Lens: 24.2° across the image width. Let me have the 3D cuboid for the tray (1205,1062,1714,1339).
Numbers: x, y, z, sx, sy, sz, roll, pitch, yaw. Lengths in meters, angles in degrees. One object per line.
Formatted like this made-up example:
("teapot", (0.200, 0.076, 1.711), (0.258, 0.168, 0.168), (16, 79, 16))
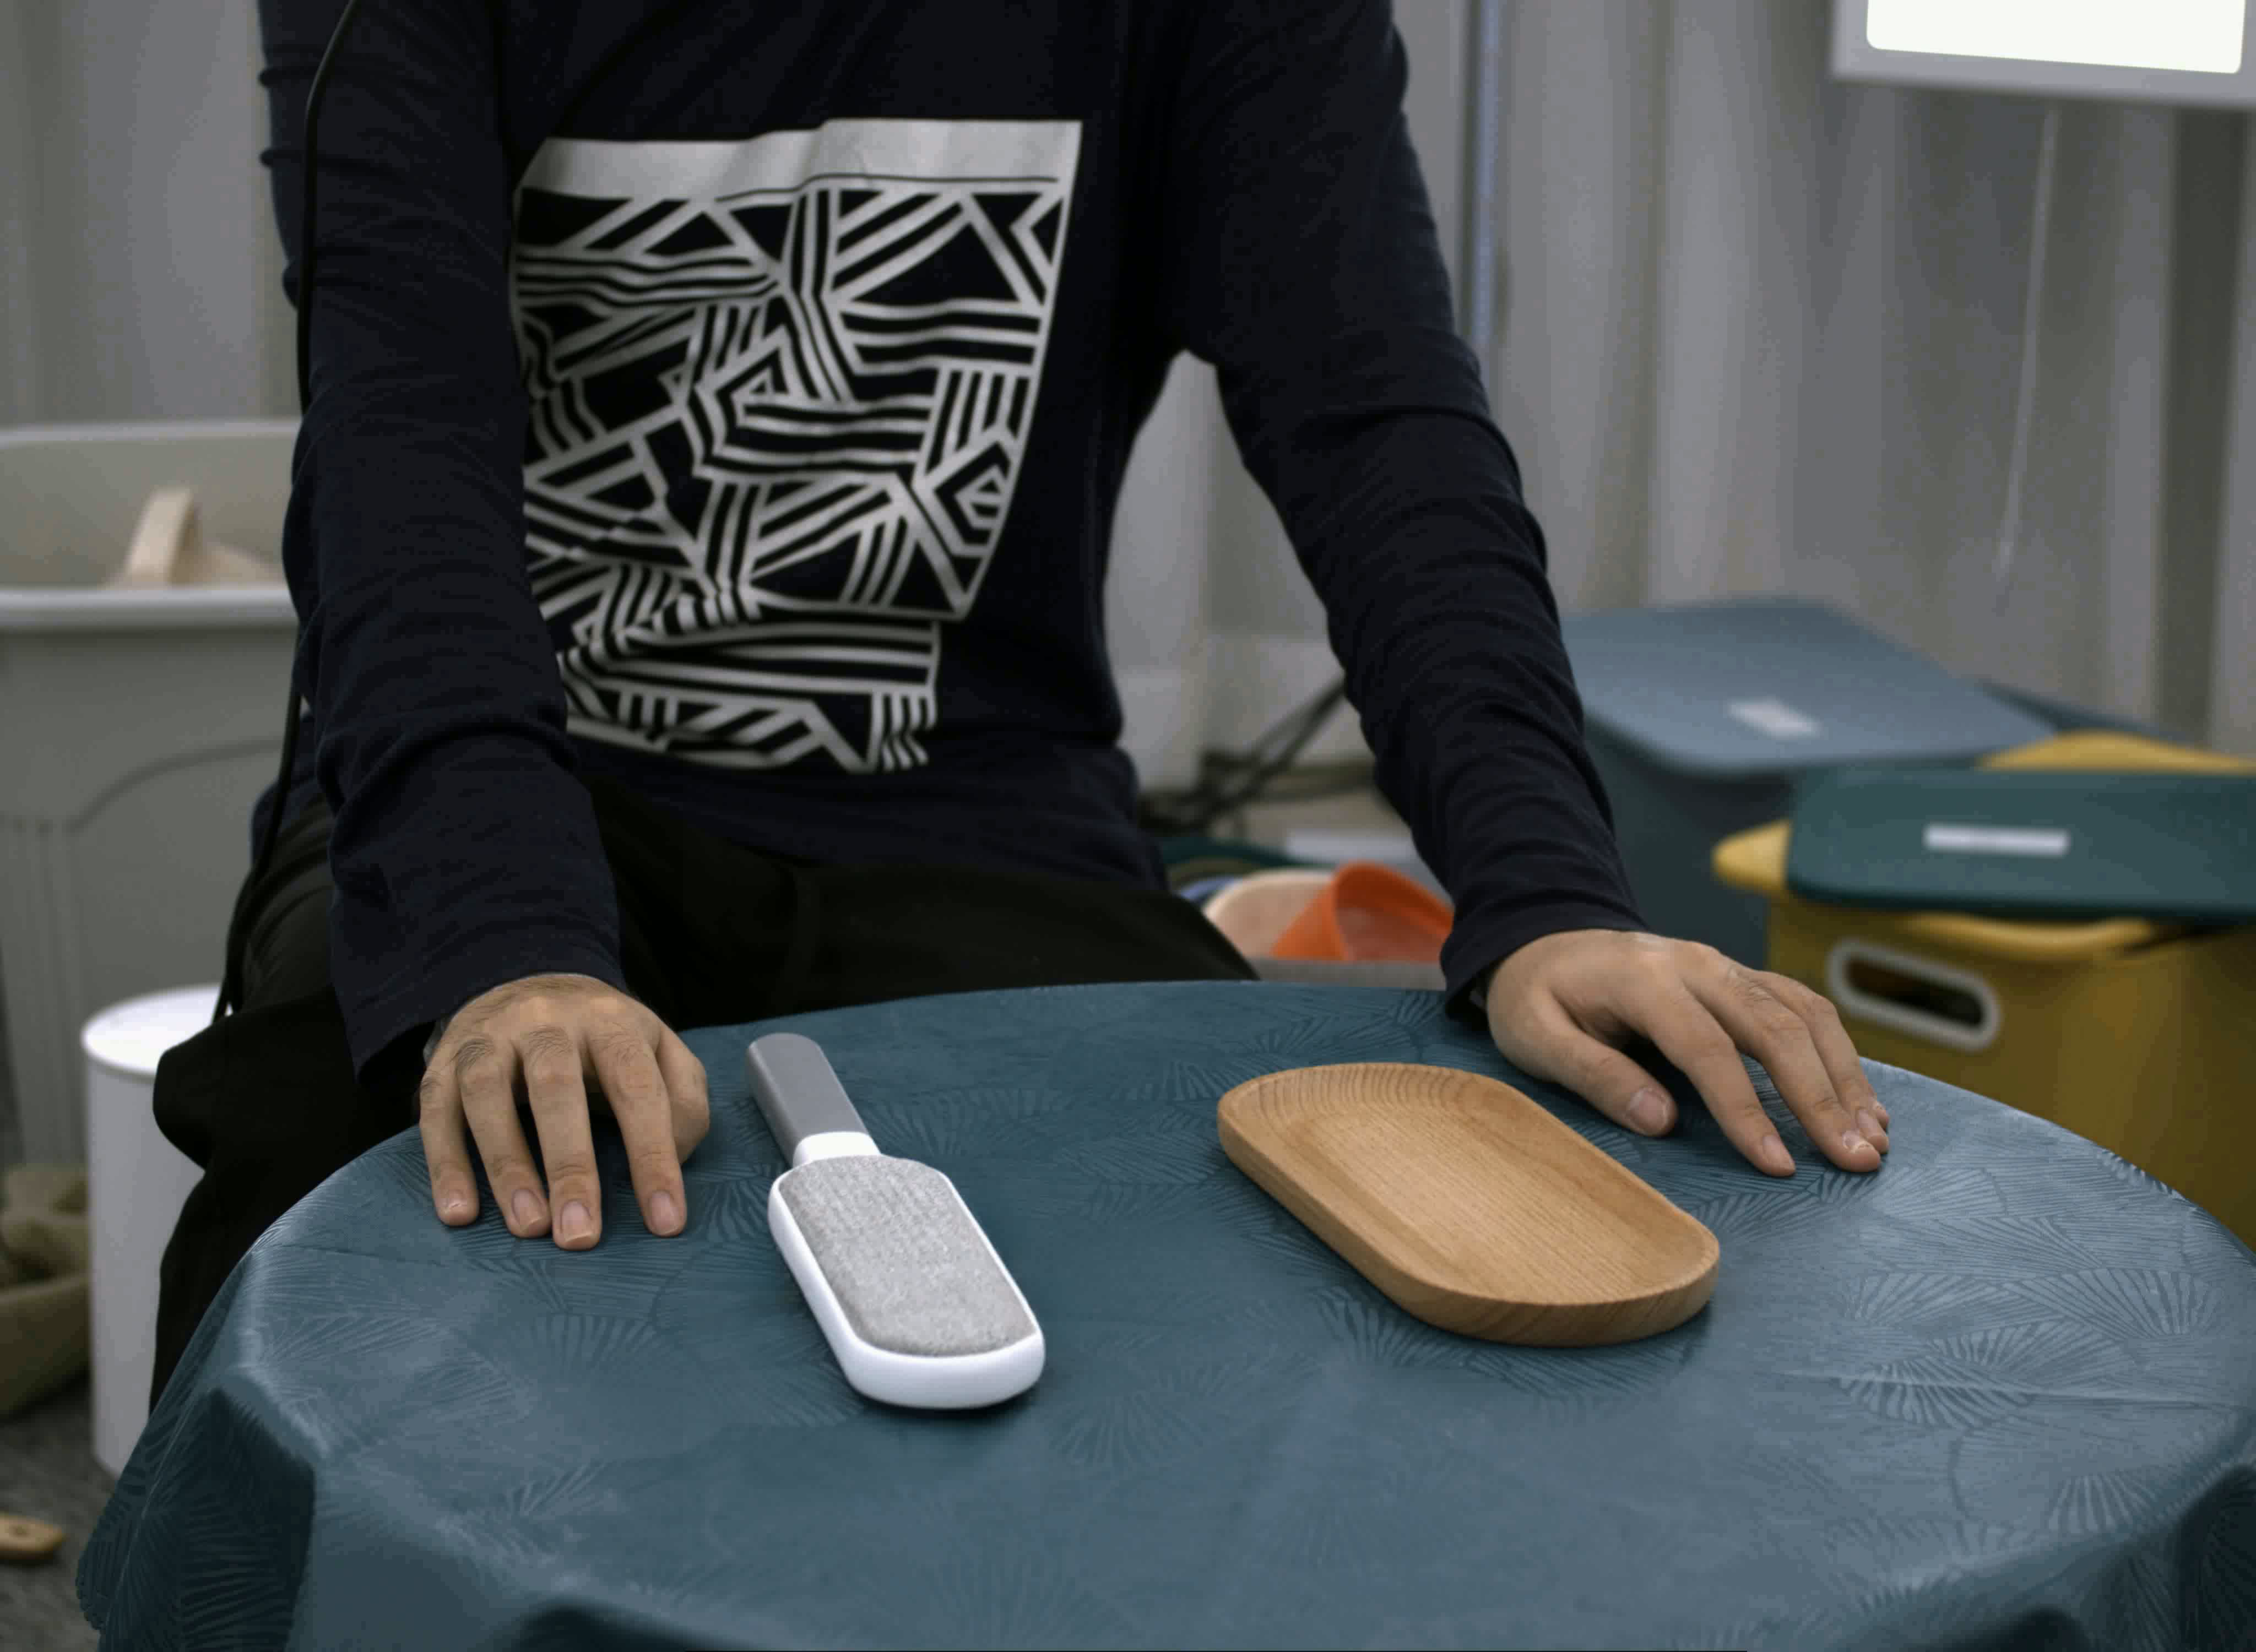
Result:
("tray", (0.098, 0.112, 1.603), (0.102, 0.020, 0.228), (-3, 14, -21))

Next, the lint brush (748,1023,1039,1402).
("lint brush", (-0.079, 0.111, 1.576), (0.060, 0.021, 0.306), (-8, 17, -11))
